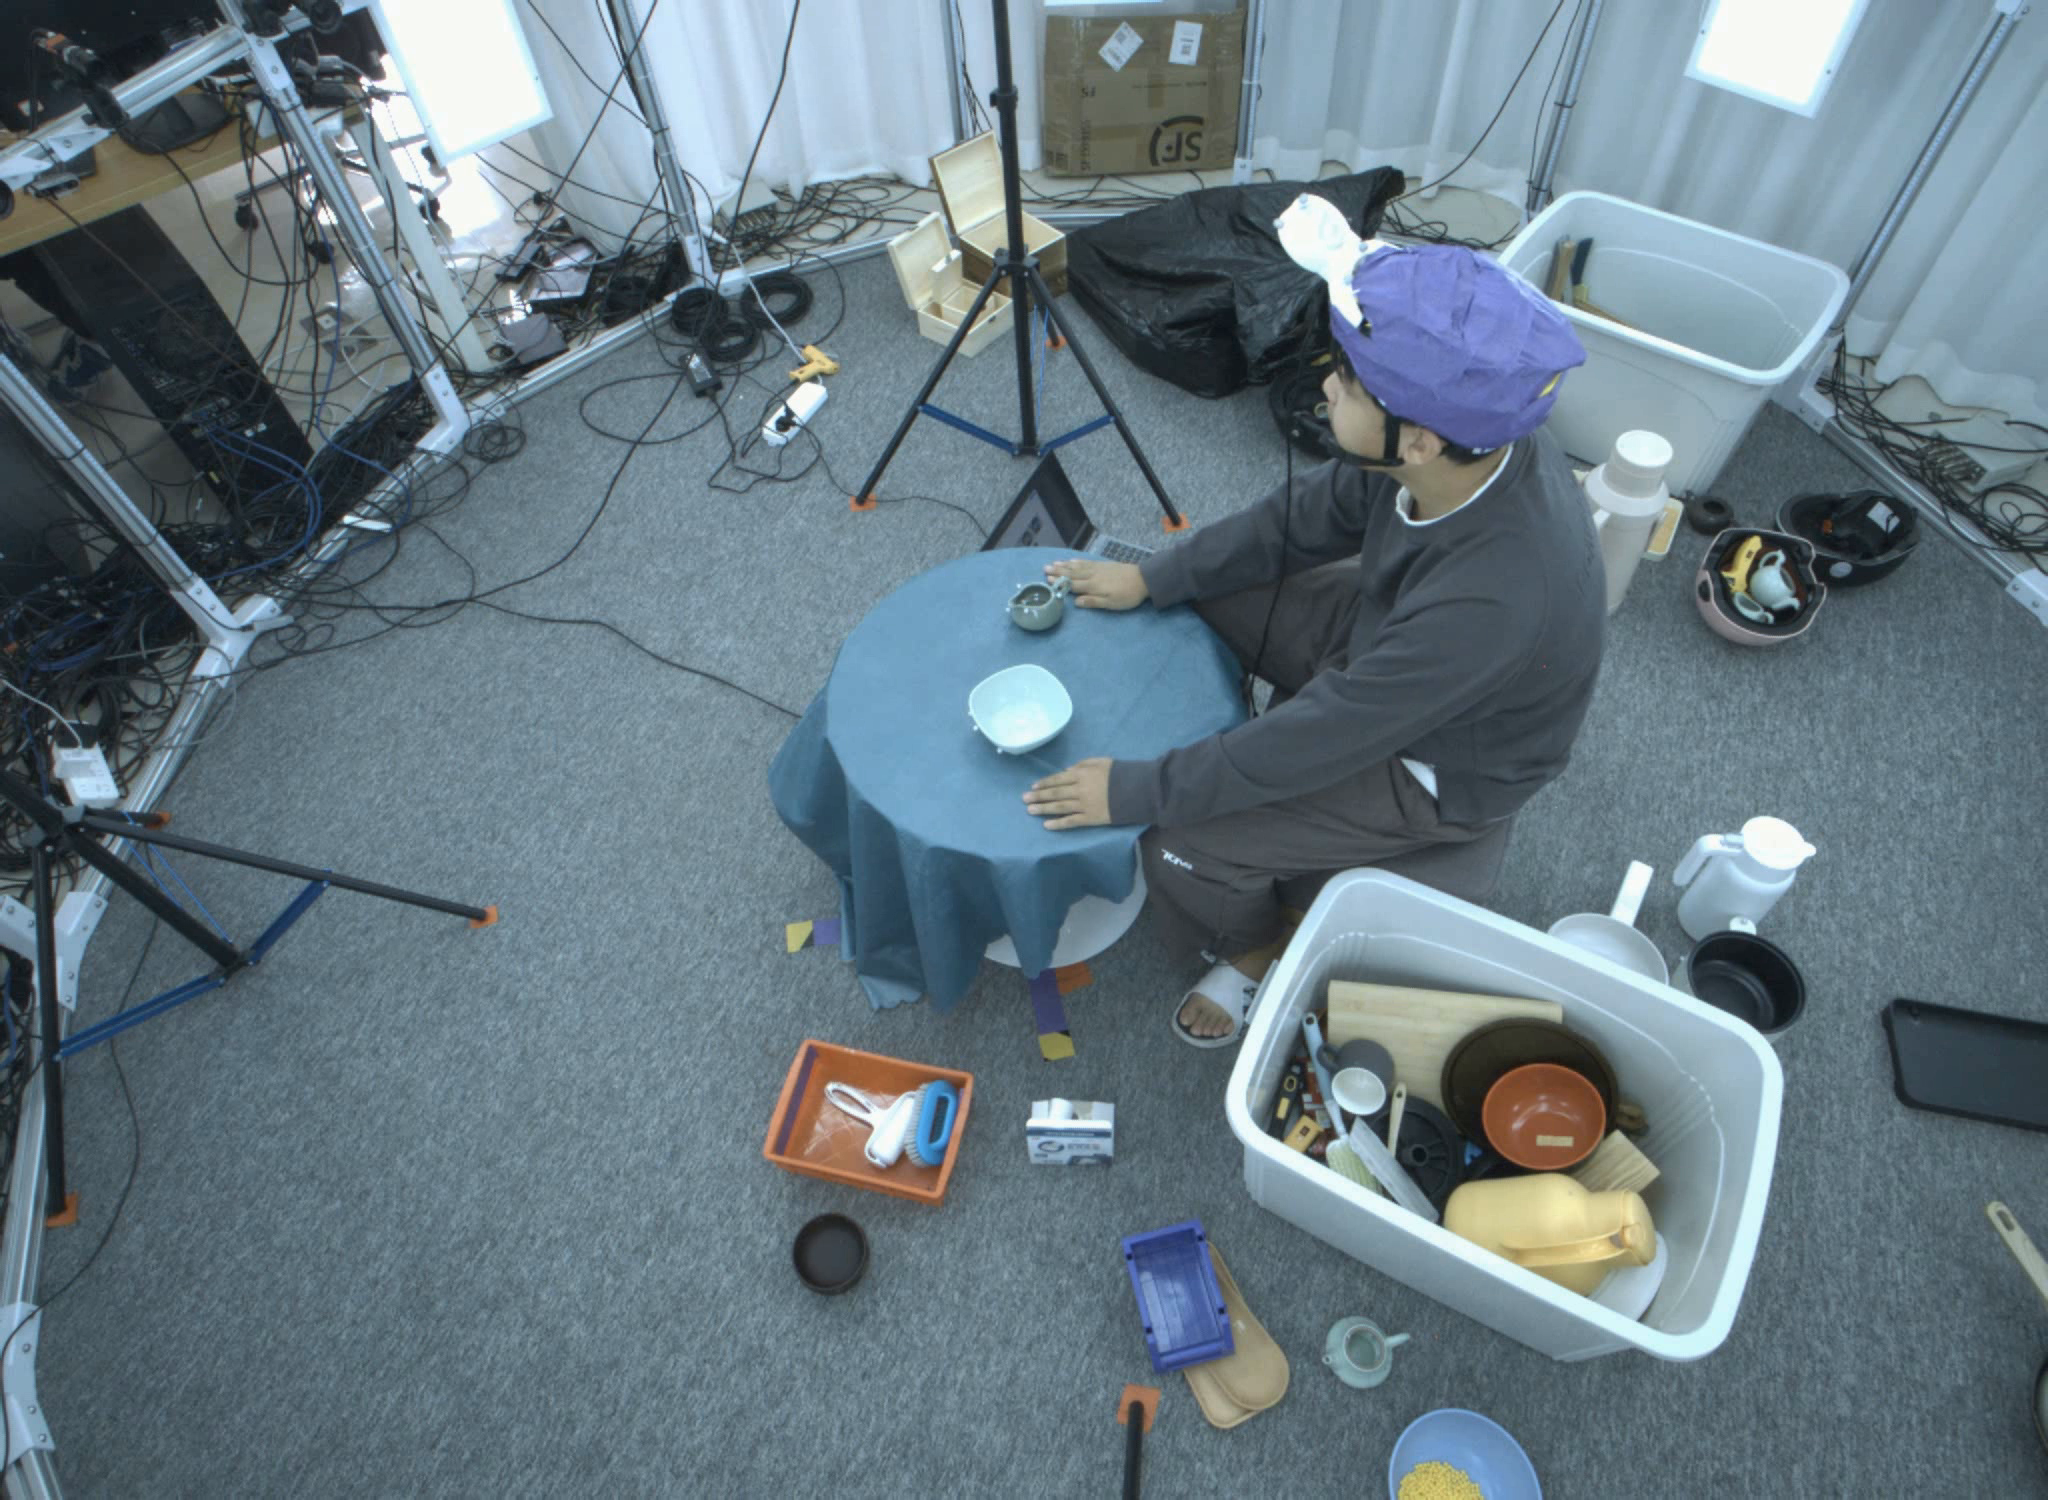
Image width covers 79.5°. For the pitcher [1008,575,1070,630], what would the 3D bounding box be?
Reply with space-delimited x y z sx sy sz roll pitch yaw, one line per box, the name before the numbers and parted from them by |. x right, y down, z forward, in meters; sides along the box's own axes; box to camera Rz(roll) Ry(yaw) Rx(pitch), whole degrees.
pitcher | 0.023 -0.232 1.918 0.113 0.057 0.082 -30 59 -19

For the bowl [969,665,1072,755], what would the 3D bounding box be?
bowl | -0.003 -0.048 1.788 0.151 0.059 0.150 -1 55 3
